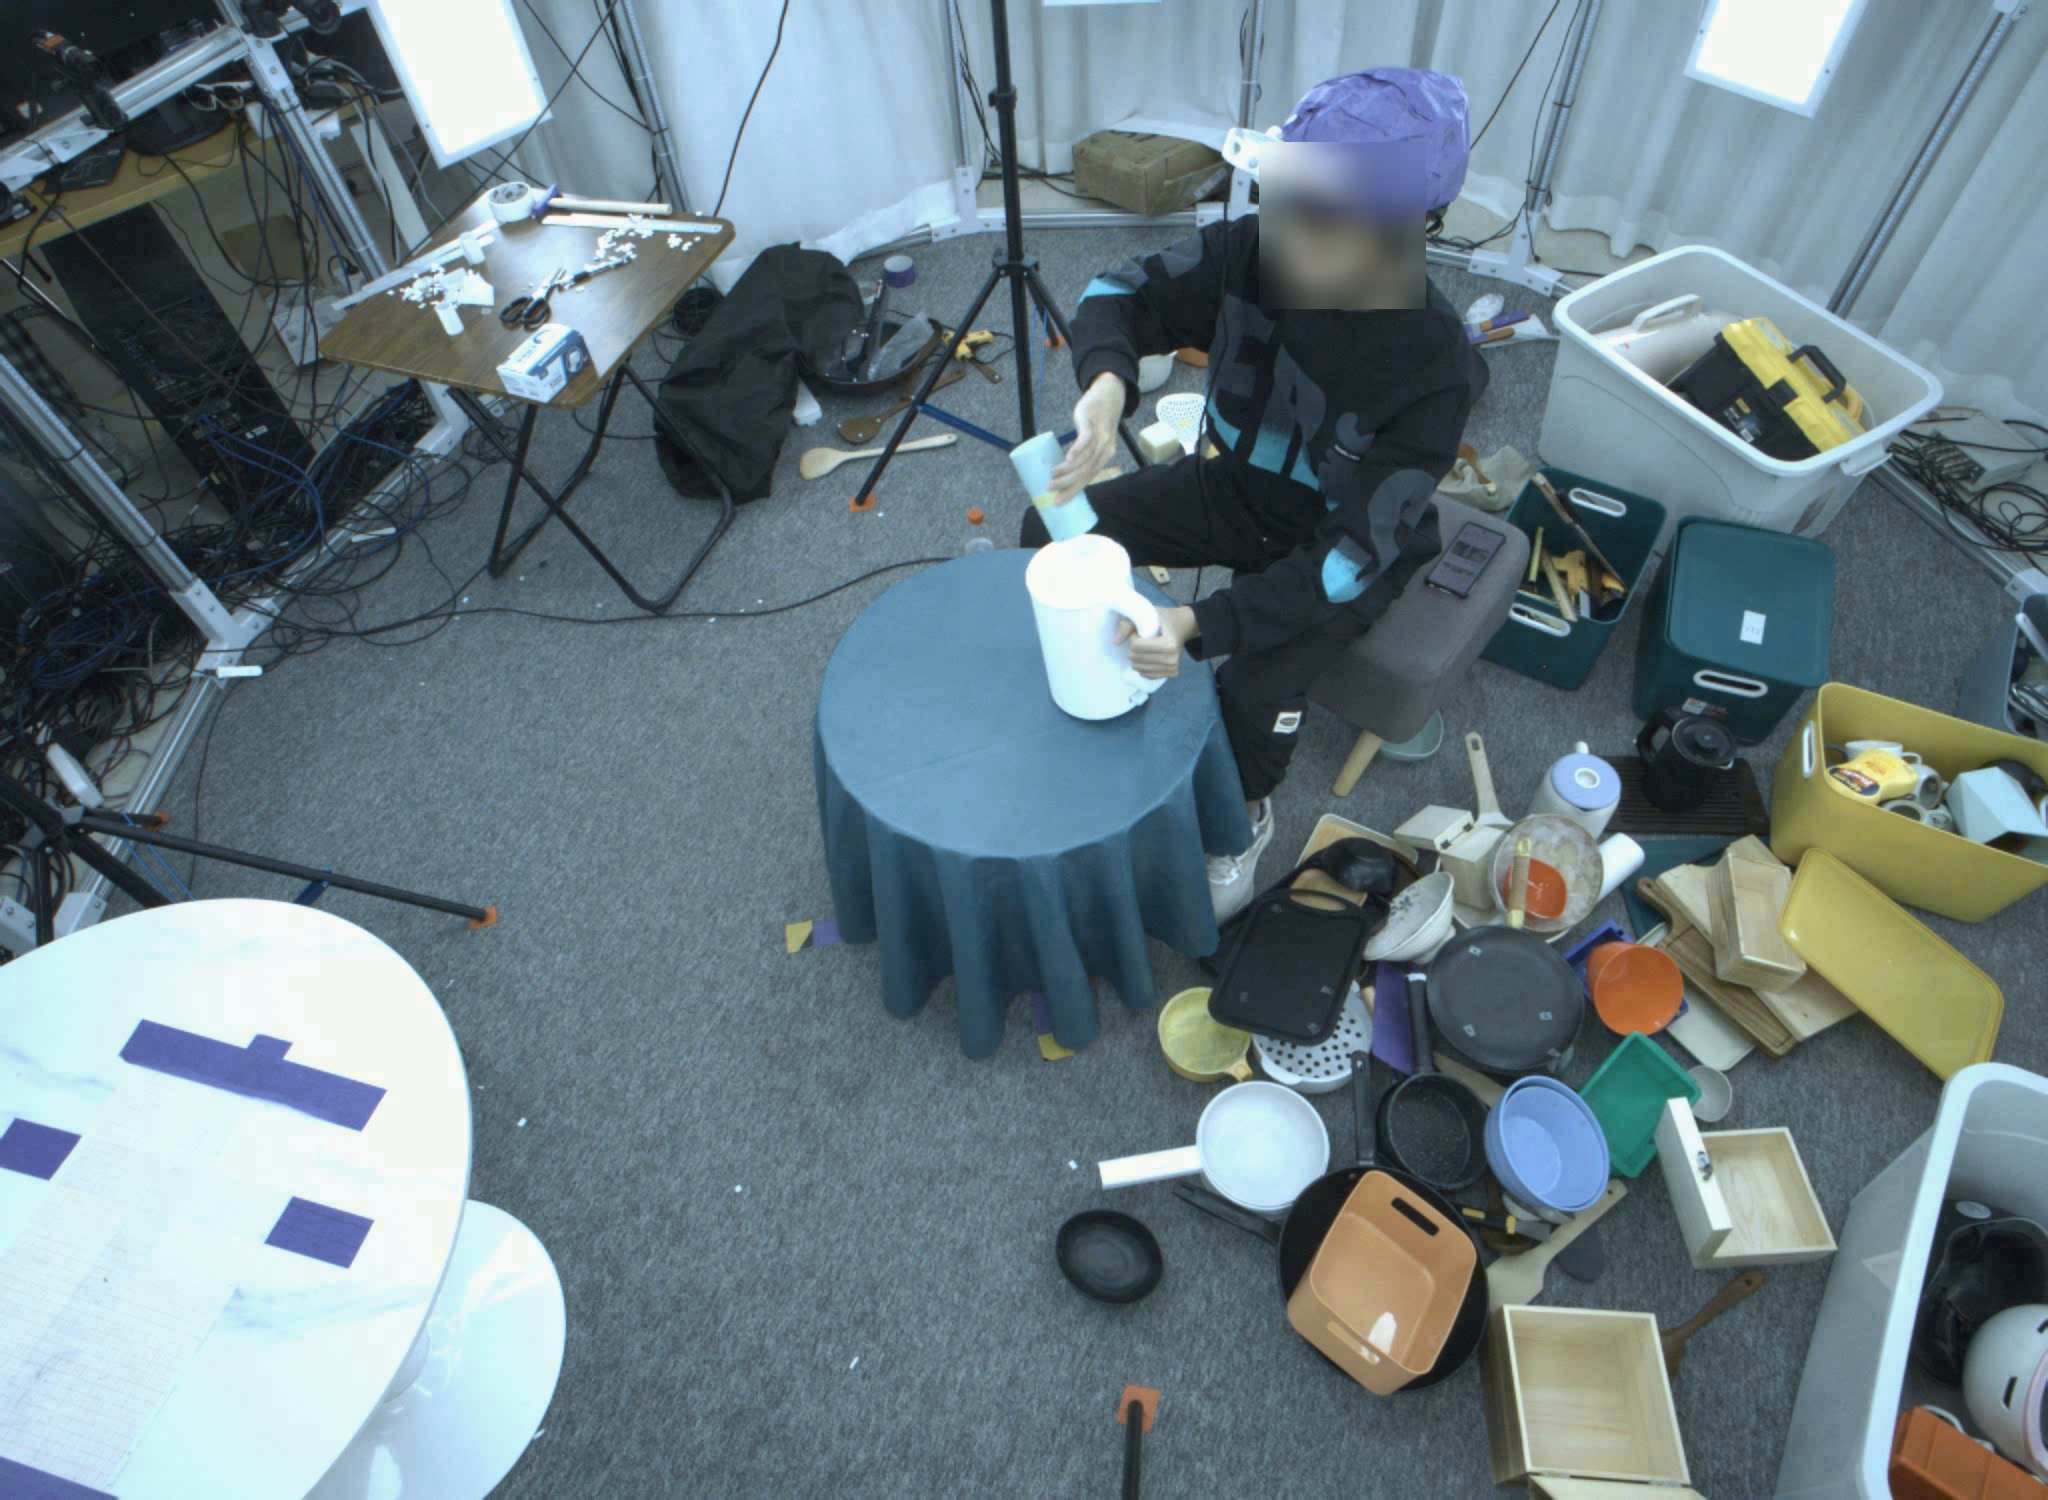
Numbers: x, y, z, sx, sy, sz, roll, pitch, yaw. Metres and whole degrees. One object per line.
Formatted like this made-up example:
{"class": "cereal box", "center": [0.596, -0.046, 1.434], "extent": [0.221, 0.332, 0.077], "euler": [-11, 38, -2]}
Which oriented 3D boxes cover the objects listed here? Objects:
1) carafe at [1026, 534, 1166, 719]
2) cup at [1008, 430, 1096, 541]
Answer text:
{"class": "carafe", "center": [0.109, -0.160, 1.731], "extent": [0.153, 0.244, 0.208], "euler": [-43, 55, -18]}
{"class": "cup", "center": [0.036, -0.346, 1.596], "extent": [0.066, 0.134, 0.066], "euler": [-24, 25, 13]}
